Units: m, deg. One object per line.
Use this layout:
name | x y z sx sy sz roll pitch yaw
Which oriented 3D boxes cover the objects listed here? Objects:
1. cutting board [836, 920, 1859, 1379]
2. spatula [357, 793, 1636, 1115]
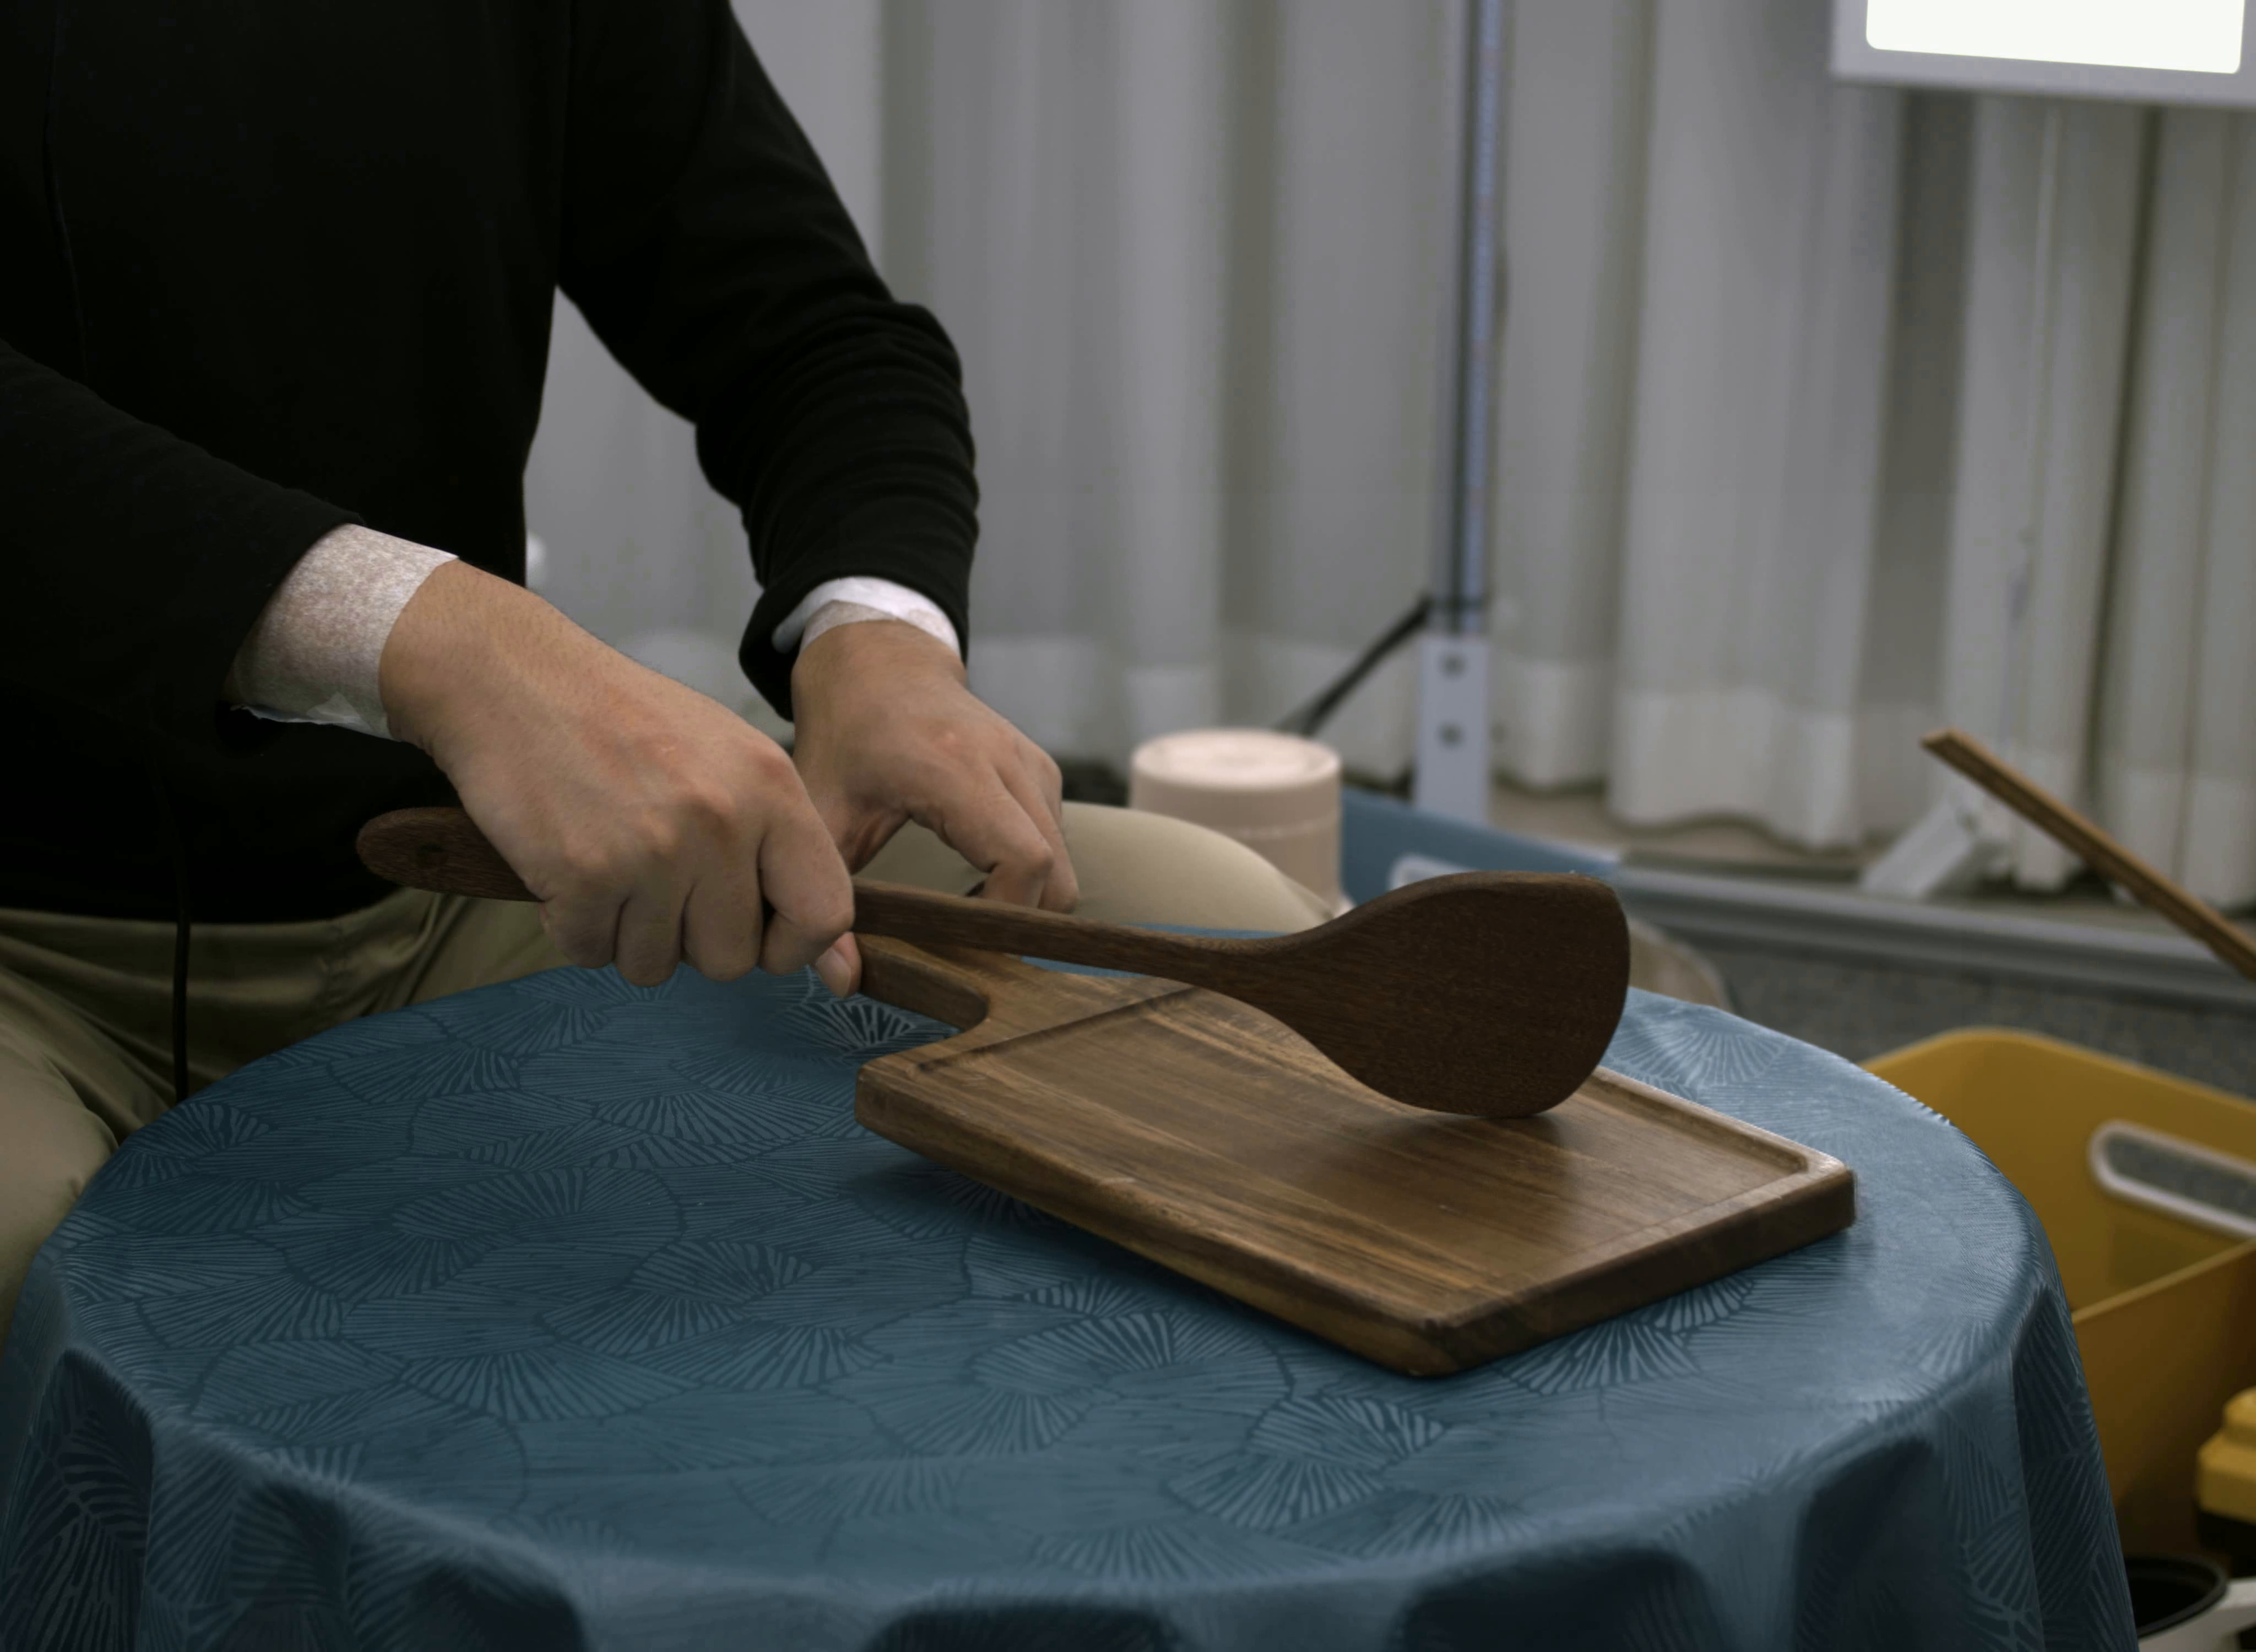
cutting board | 0.034 0.084 1.641 0.202 0.023 0.347 -14 25 -43
spatula | -0.038 0.028 1.579 0.385 0.097 0.015 9 36 -5
